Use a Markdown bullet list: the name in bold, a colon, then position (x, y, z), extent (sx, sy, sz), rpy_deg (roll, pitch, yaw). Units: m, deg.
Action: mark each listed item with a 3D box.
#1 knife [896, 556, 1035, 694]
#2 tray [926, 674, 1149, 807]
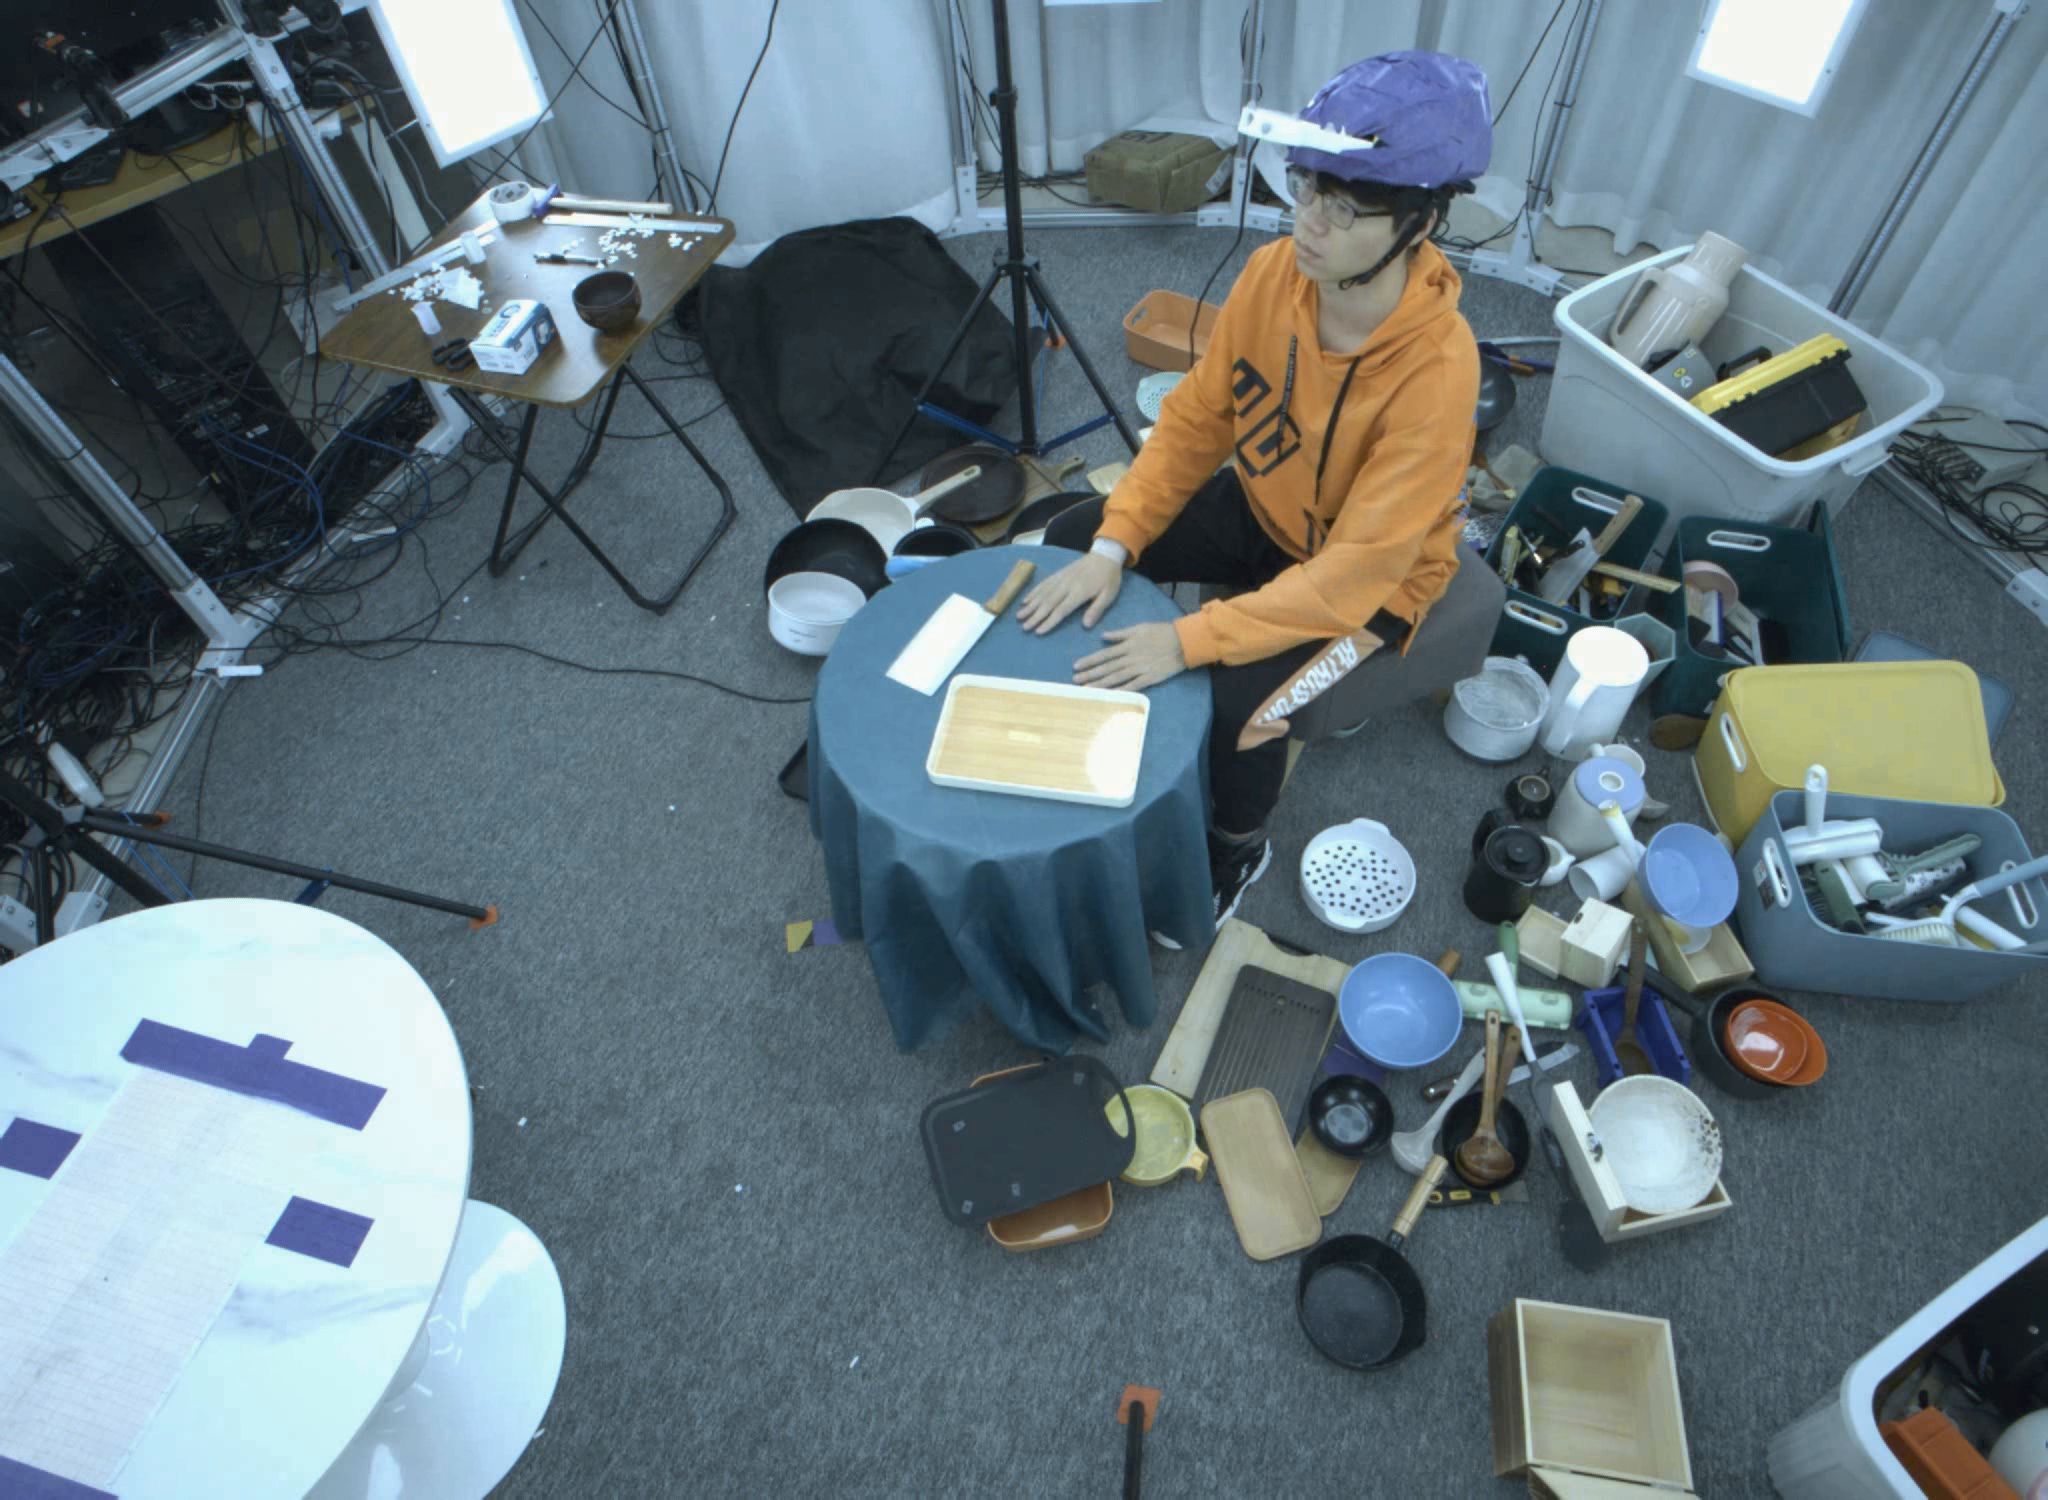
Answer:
- **knife**: position (-0.095, -0.208, 1.928), extent (0.091, 0.021, 0.306), rpy_deg (26, 62, 21)
- **tray**: position (0.022, -0.016, 1.781), extent (0.298, 0.028, 0.190), rpy_deg (7, 55, 8)
